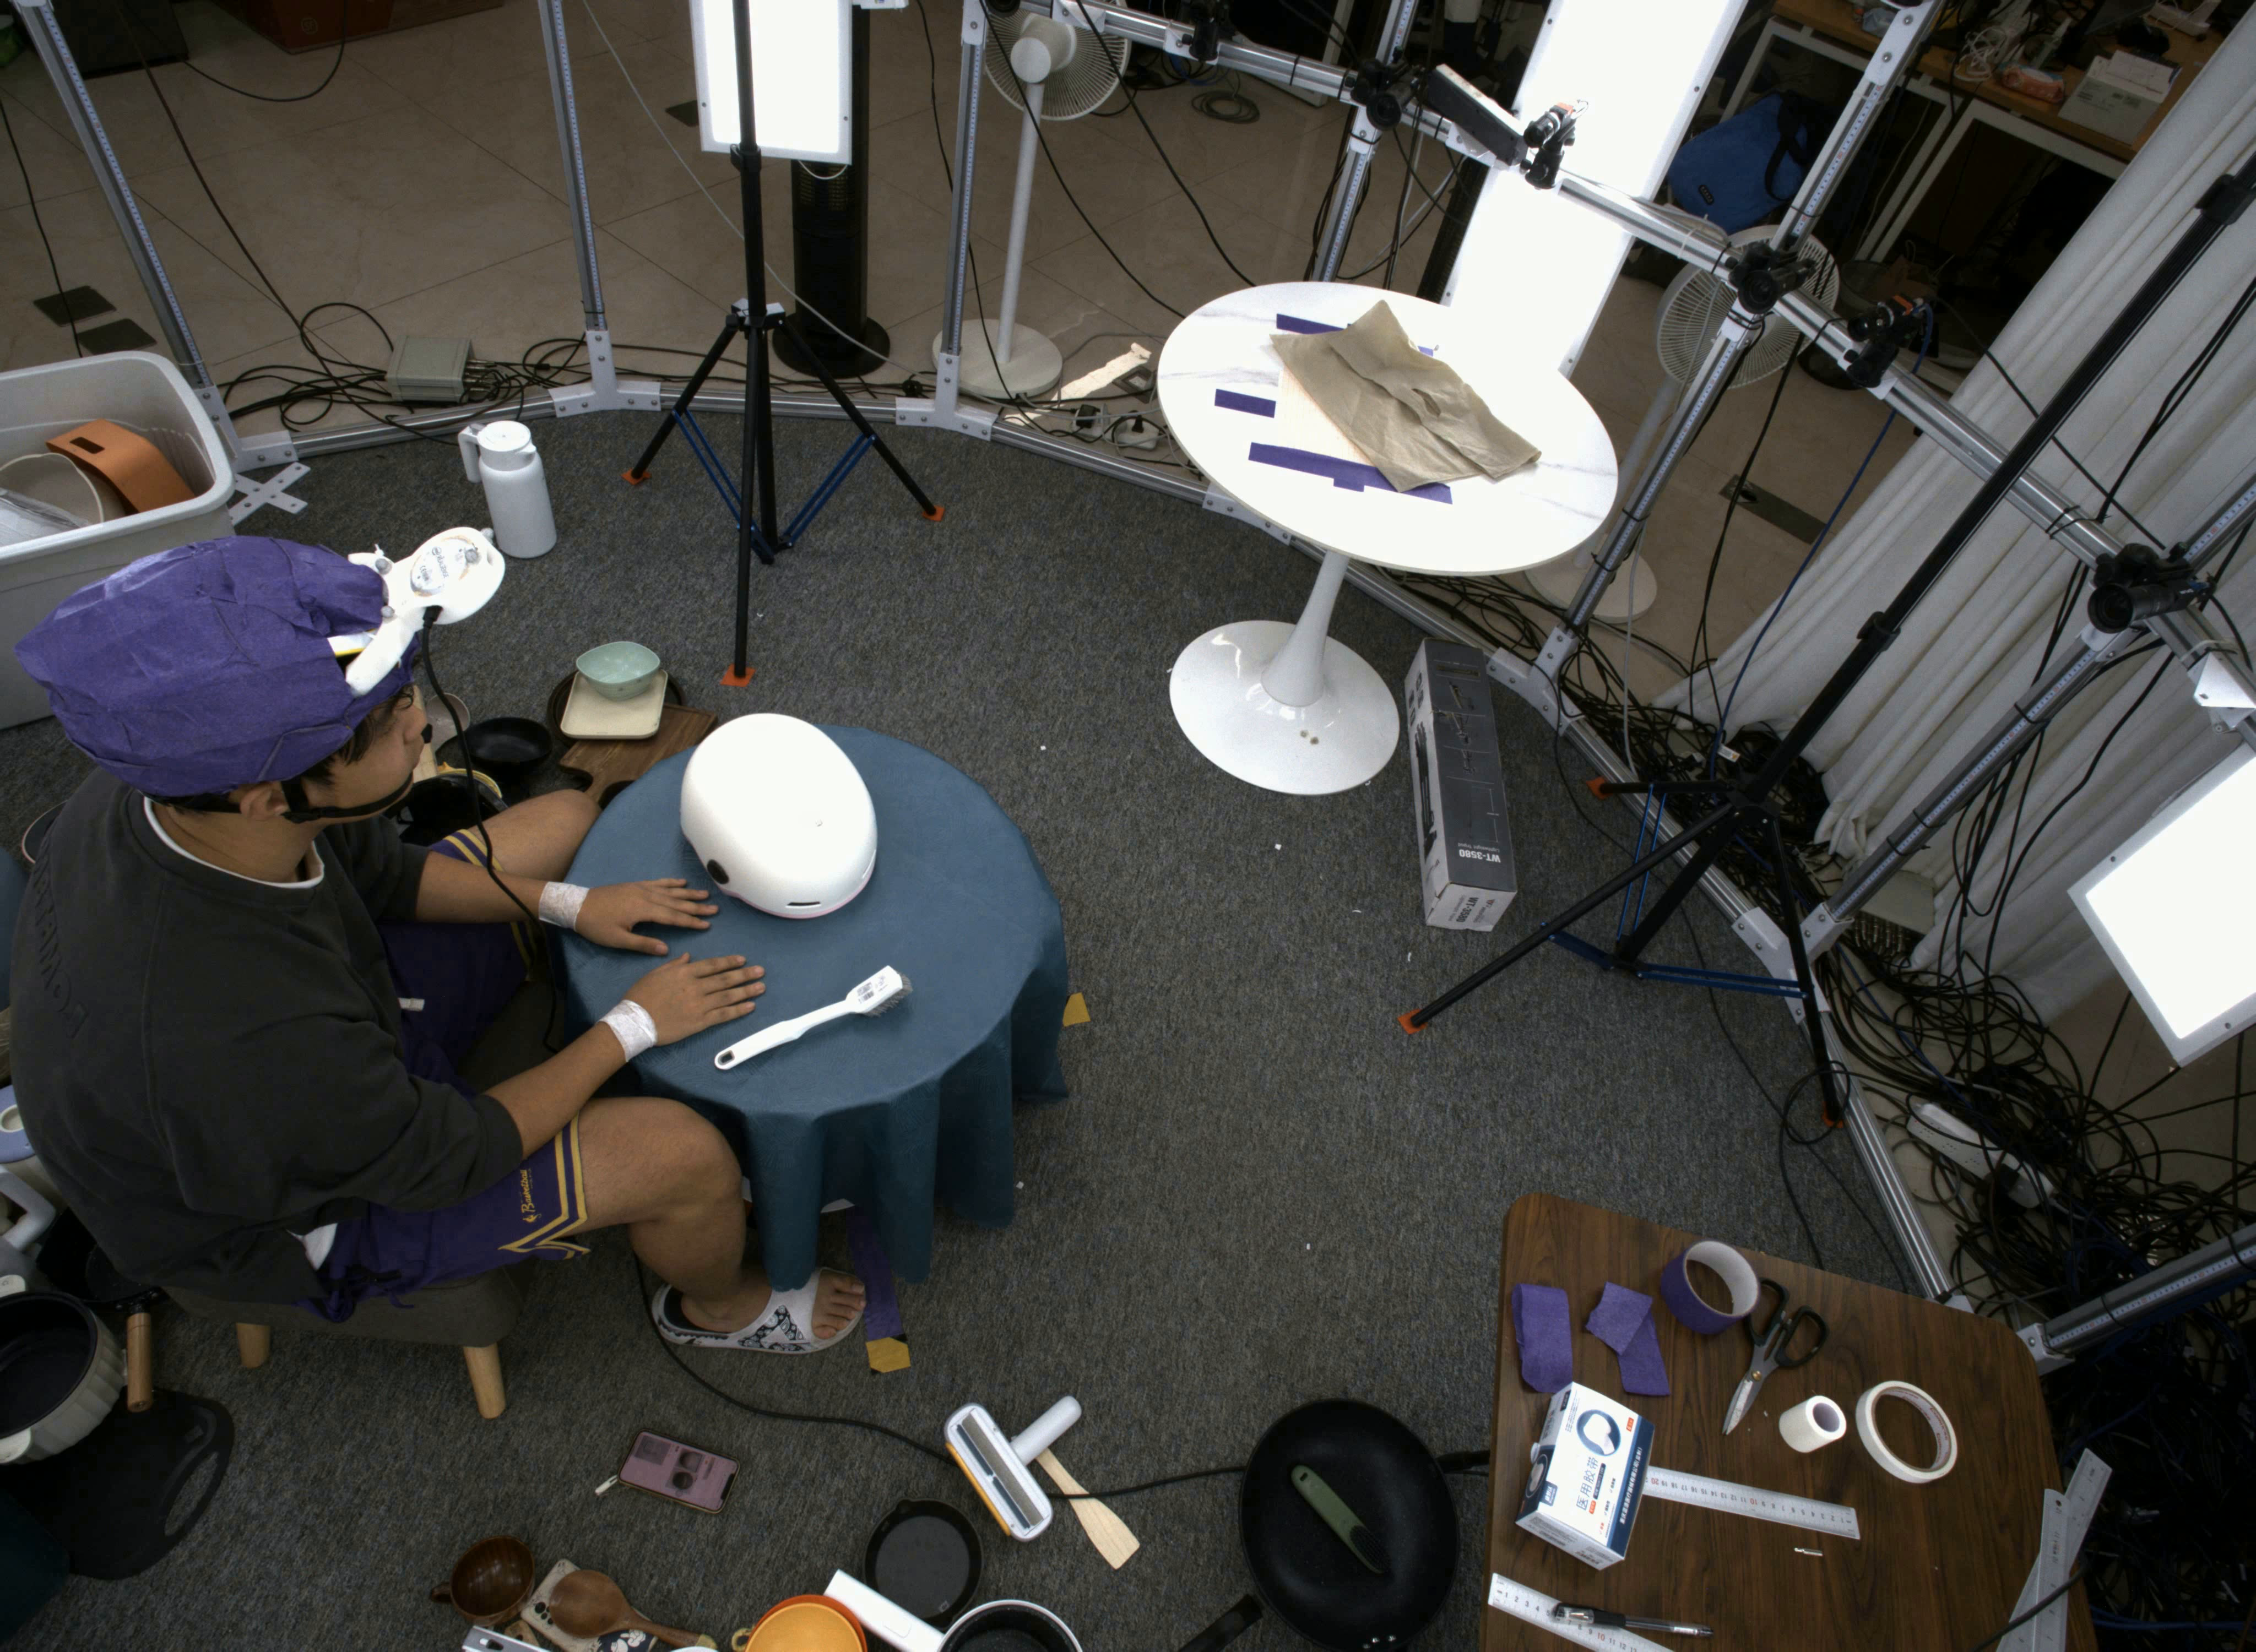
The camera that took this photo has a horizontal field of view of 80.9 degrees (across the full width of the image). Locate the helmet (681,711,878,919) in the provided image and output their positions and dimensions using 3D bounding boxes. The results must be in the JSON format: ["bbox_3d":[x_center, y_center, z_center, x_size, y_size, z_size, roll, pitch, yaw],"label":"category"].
[{"bbox_3d":[-0.443,-0.035,1.645,0.238,0.170,0.263,-34,68,-32],"label":"helmet"}]

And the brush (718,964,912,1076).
[{"bbox_3d":[-0.373,0.236,1.551,0.243,0.051,0.033,-28,62,-15],"label":"brush"}]
